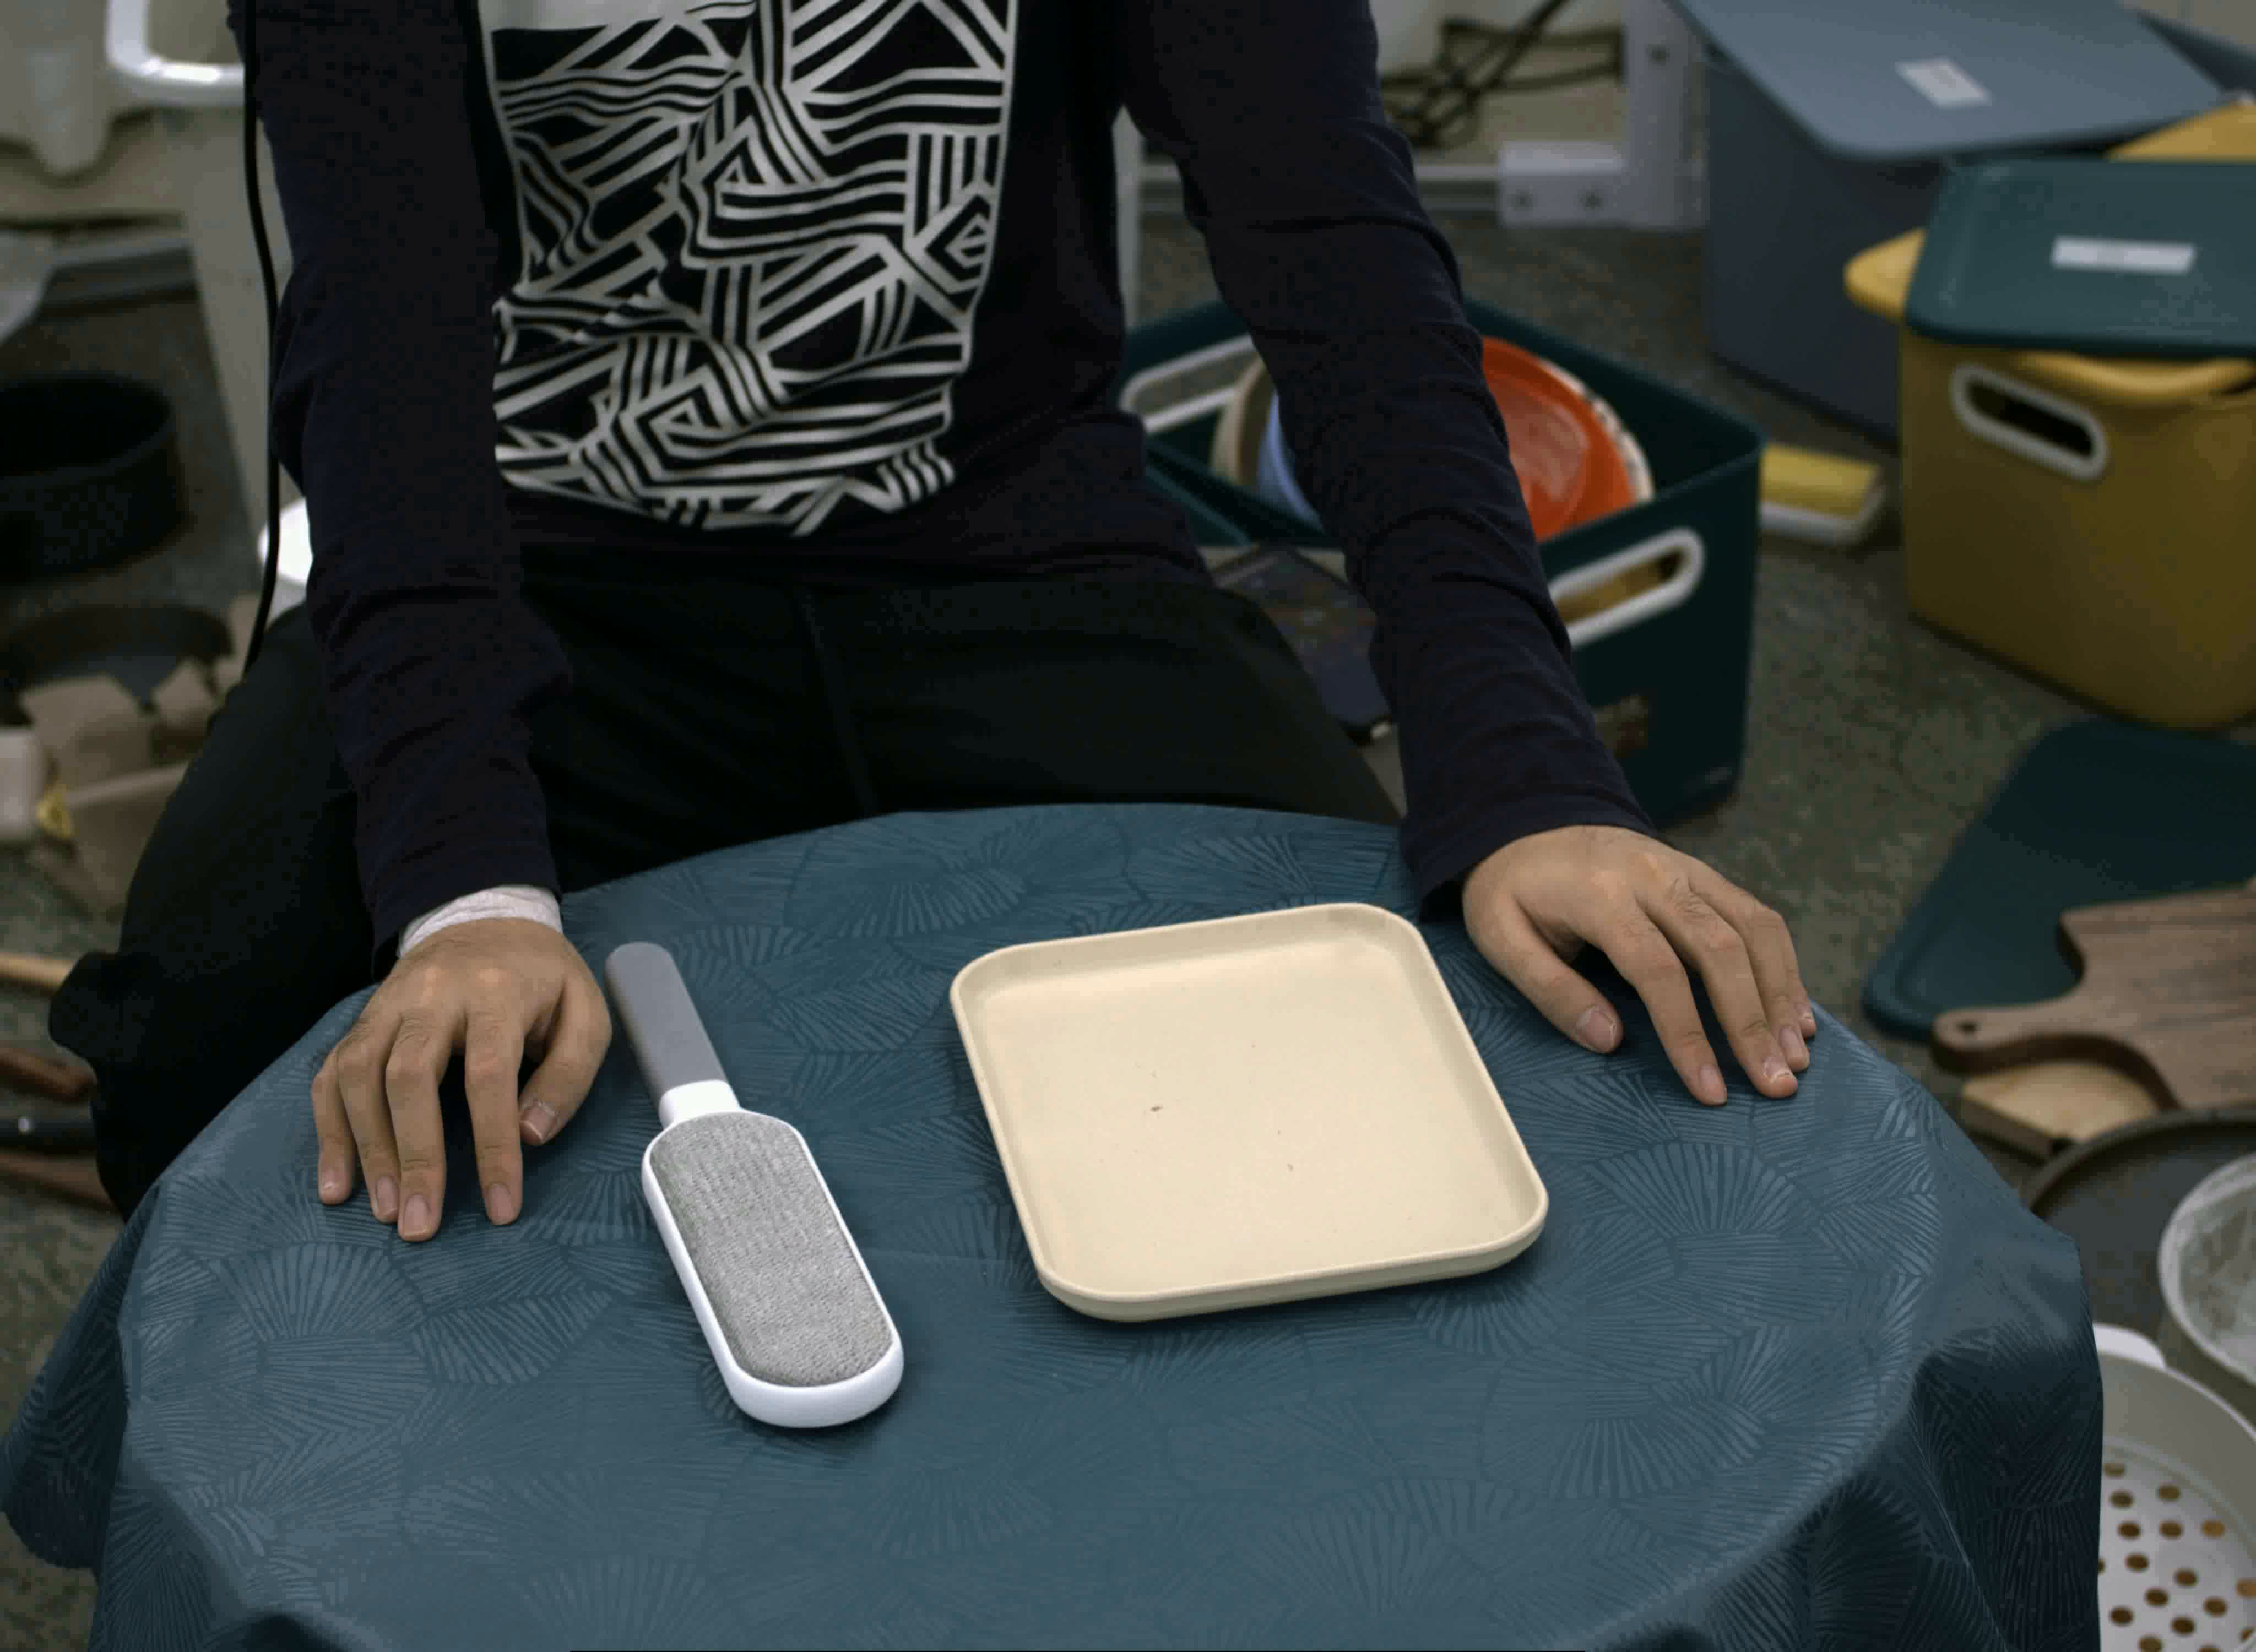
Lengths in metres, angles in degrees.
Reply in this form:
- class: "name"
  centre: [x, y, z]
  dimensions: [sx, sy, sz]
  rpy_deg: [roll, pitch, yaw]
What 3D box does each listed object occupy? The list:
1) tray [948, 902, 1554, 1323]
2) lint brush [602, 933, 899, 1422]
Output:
- class: "tray"
  centre: [0.038, 0.095, 1.891]
  dimensions: [0.171, 0.017, 0.242]
  rpy_deg: [-8, 28, -8]
- class: "lint brush"
  centre: [-0.133, 0.111, 1.864]
  dimensions: [0.060, 0.021, 0.312]
  rpy_deg: [-14, 29, -10]
